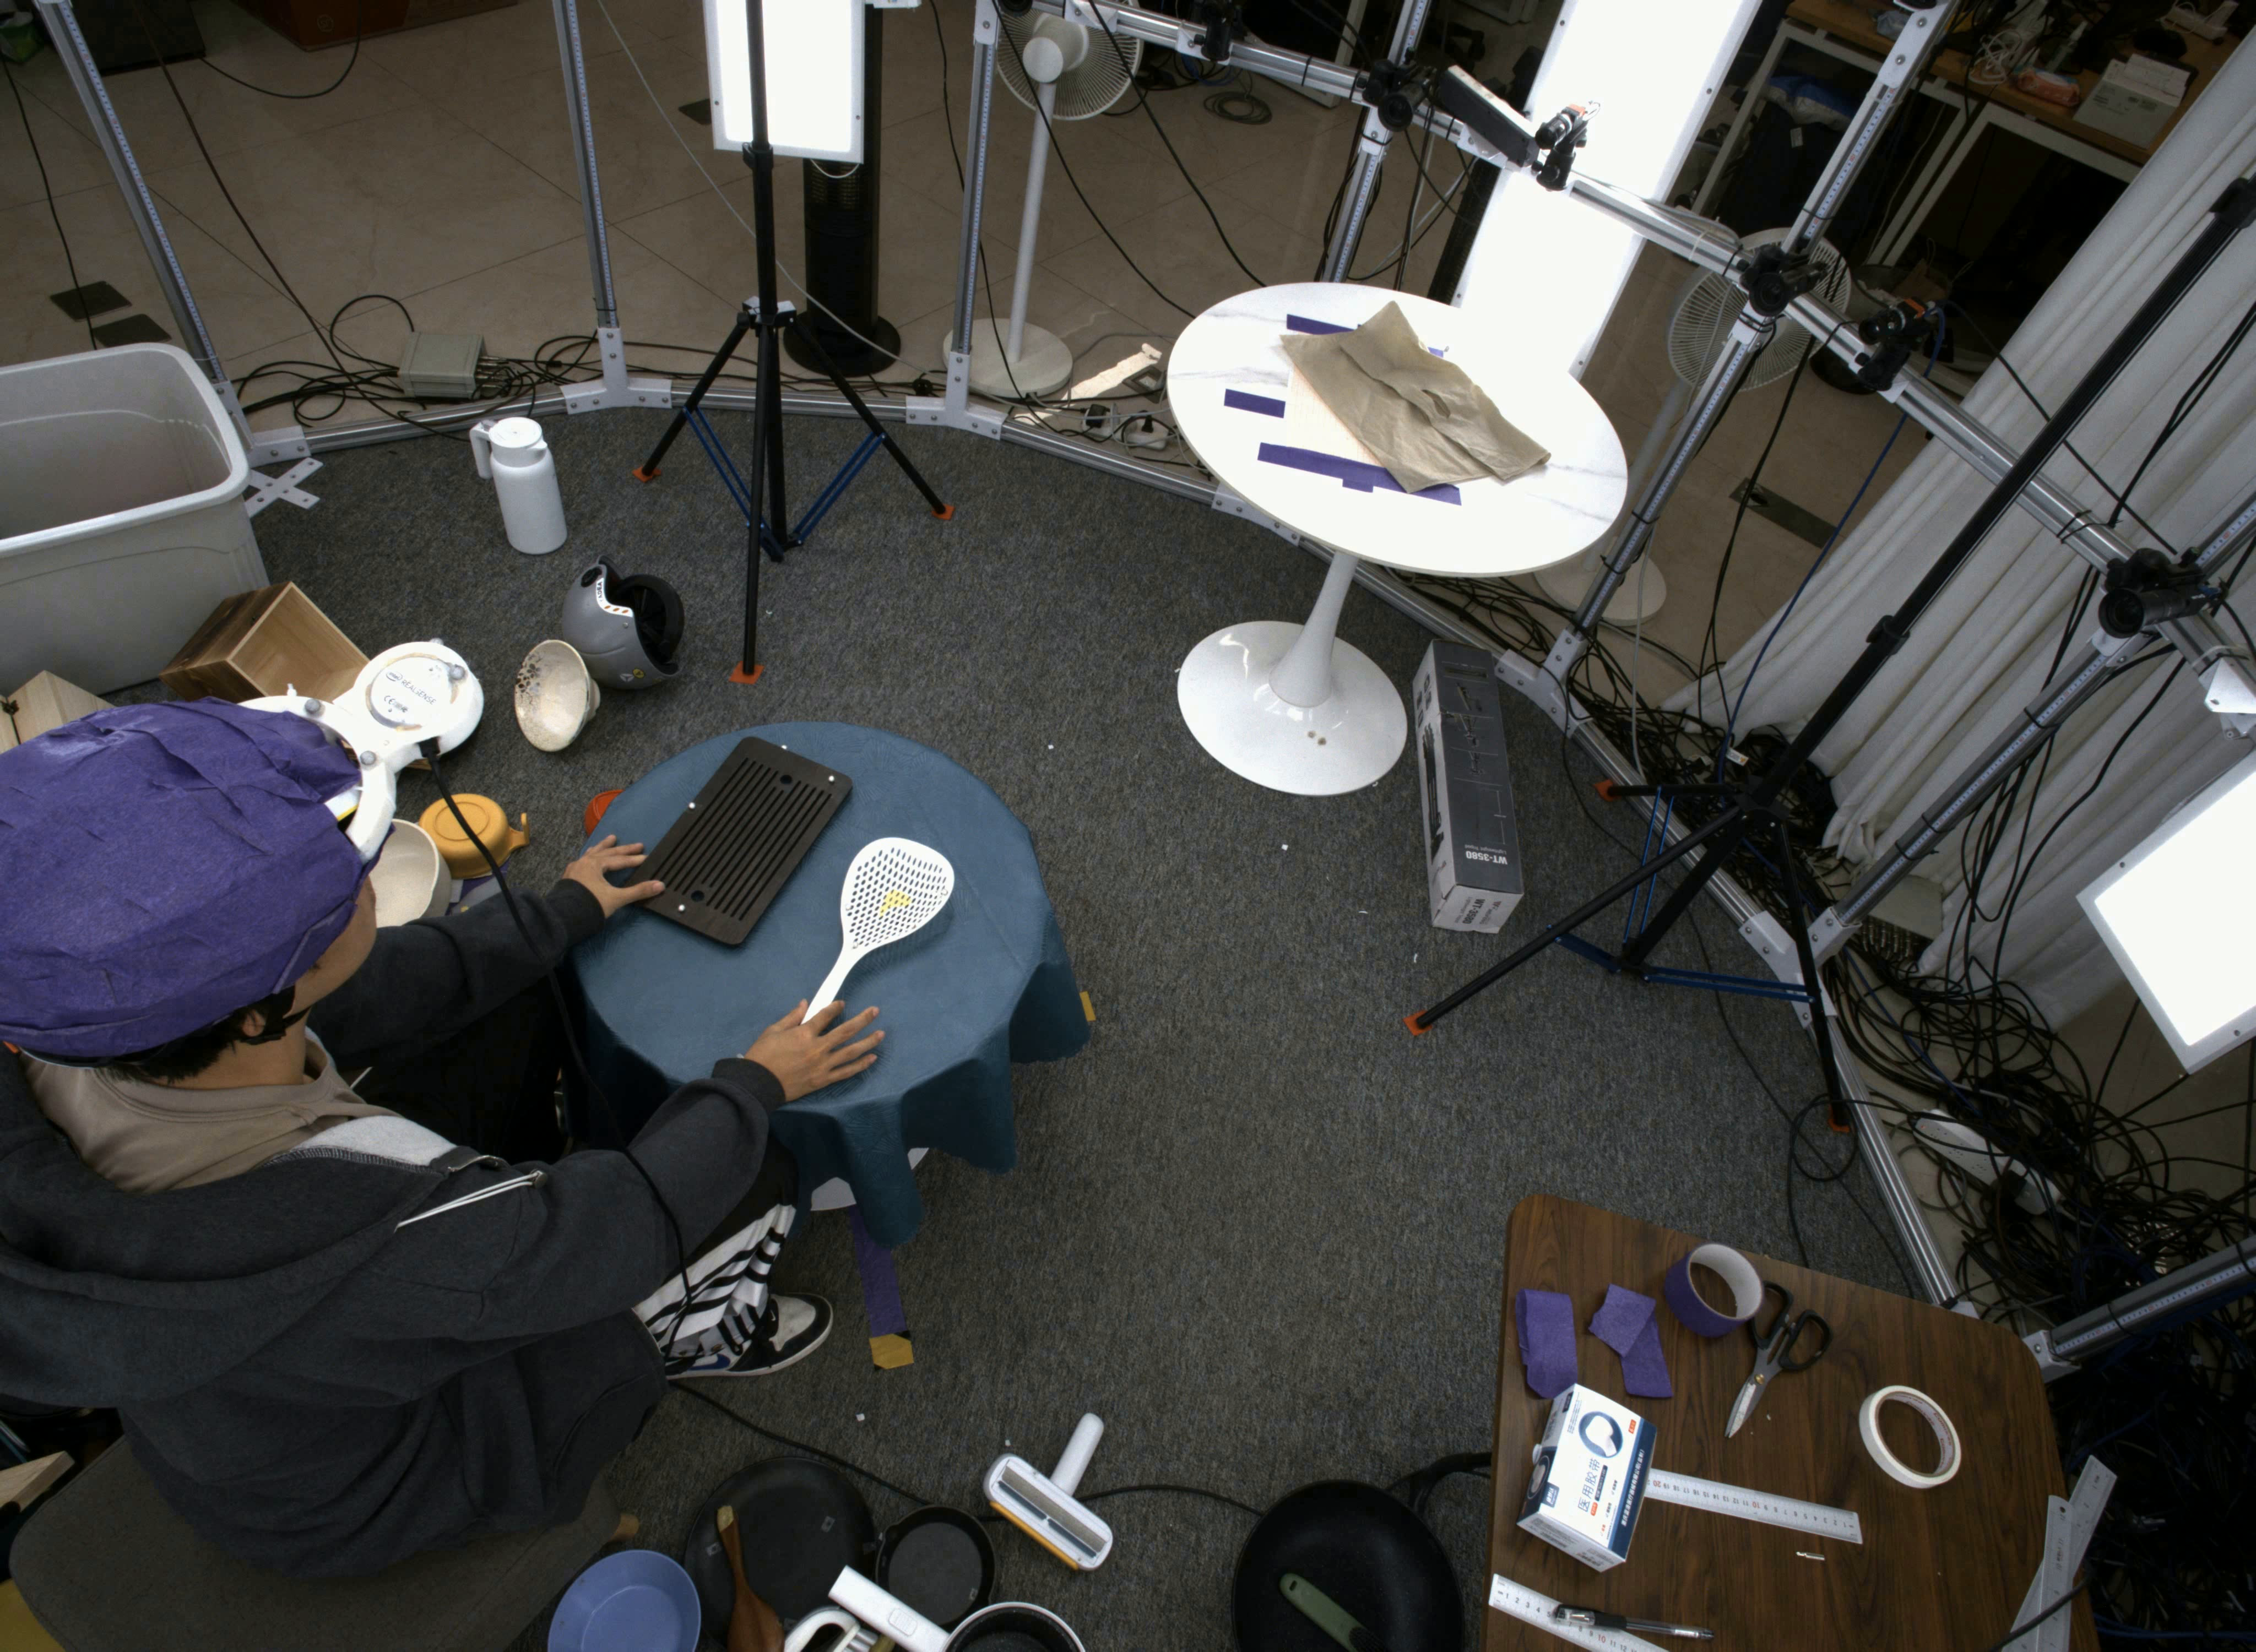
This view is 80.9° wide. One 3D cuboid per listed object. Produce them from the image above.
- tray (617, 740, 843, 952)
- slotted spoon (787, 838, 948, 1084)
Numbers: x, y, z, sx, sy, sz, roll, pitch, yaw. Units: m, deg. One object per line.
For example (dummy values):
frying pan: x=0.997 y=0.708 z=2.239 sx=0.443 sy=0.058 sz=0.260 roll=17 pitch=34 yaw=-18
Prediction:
tray: x=-0.513 y=0.019 z=1.680 sx=0.168 sy=0.019 sz=0.303 roll=23 pitch=52 yaw=3
slotted spoon: x=-0.340 y=0.158 z=1.605 sx=0.135 sy=0.051 sz=0.345 roll=22 pitch=52 yaw=4
